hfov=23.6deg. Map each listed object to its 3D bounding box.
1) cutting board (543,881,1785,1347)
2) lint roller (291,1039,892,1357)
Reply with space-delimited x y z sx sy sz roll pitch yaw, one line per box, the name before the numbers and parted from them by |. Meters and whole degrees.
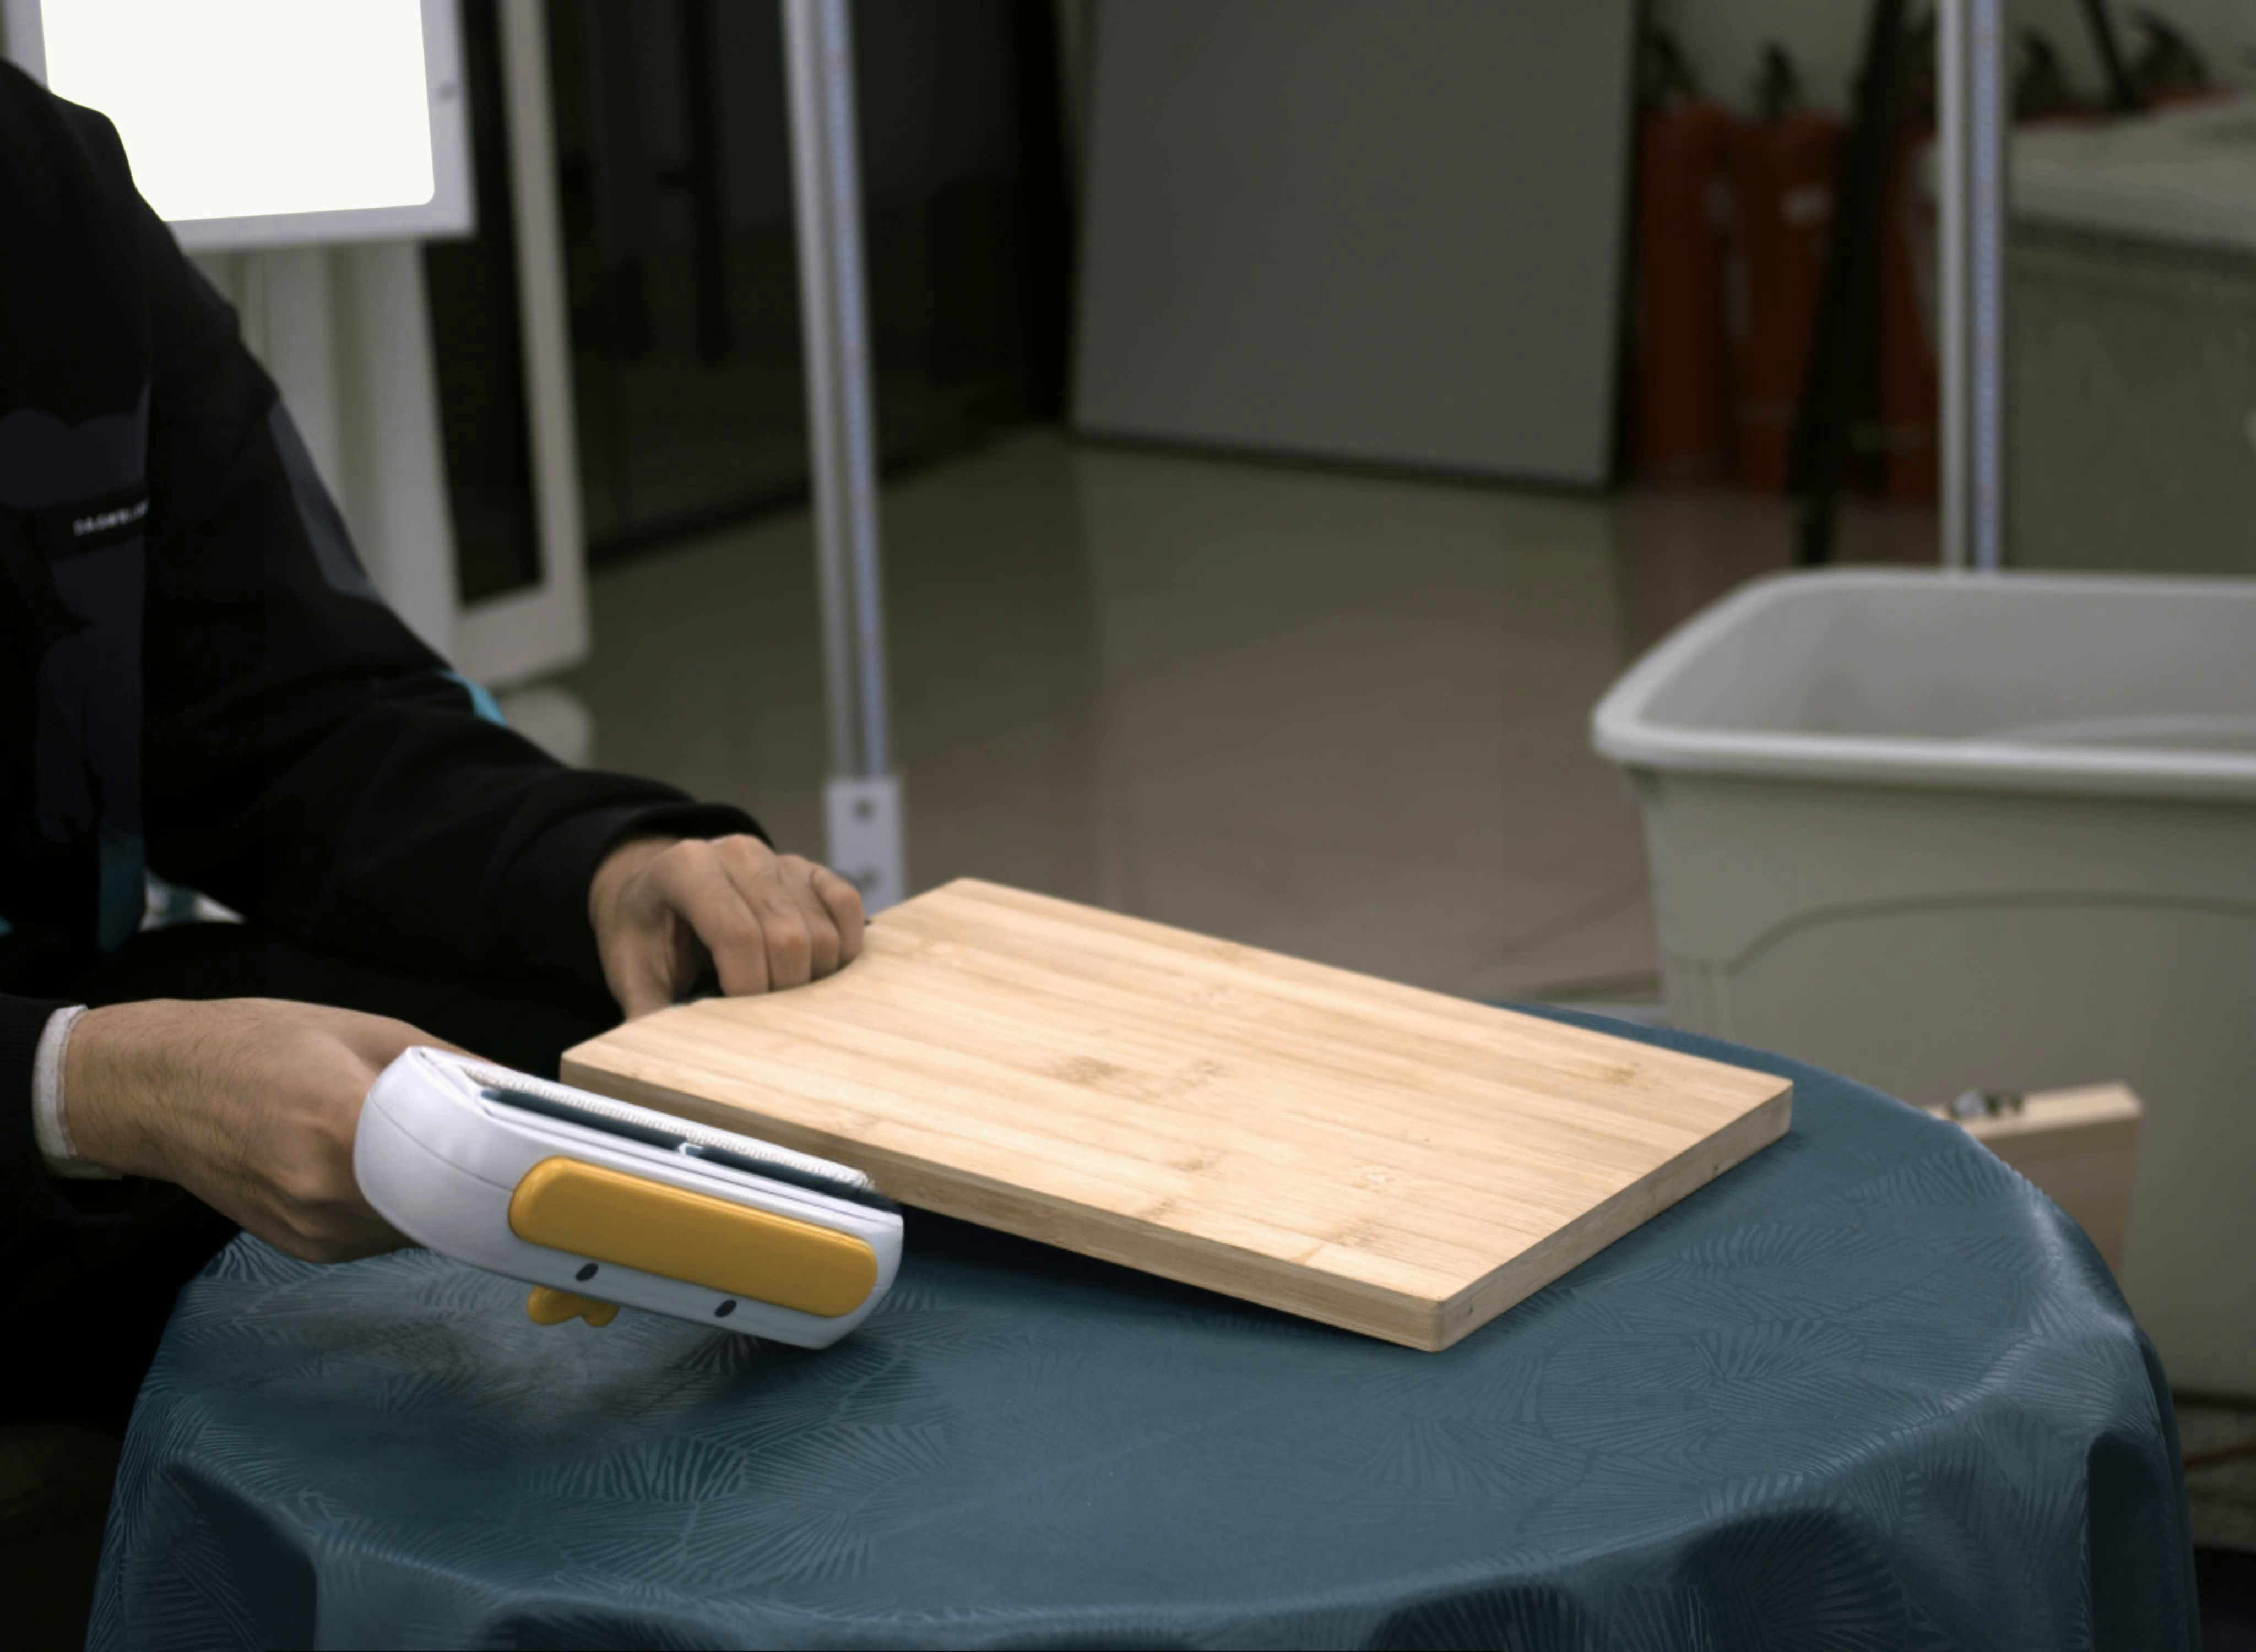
cutting board | 0.012 0.089 1.787 0.350 0.024 0.246 12 20 32
lint roller | -0.189 0.103 1.639 0.188 0.075 0.194 15 5 -40
